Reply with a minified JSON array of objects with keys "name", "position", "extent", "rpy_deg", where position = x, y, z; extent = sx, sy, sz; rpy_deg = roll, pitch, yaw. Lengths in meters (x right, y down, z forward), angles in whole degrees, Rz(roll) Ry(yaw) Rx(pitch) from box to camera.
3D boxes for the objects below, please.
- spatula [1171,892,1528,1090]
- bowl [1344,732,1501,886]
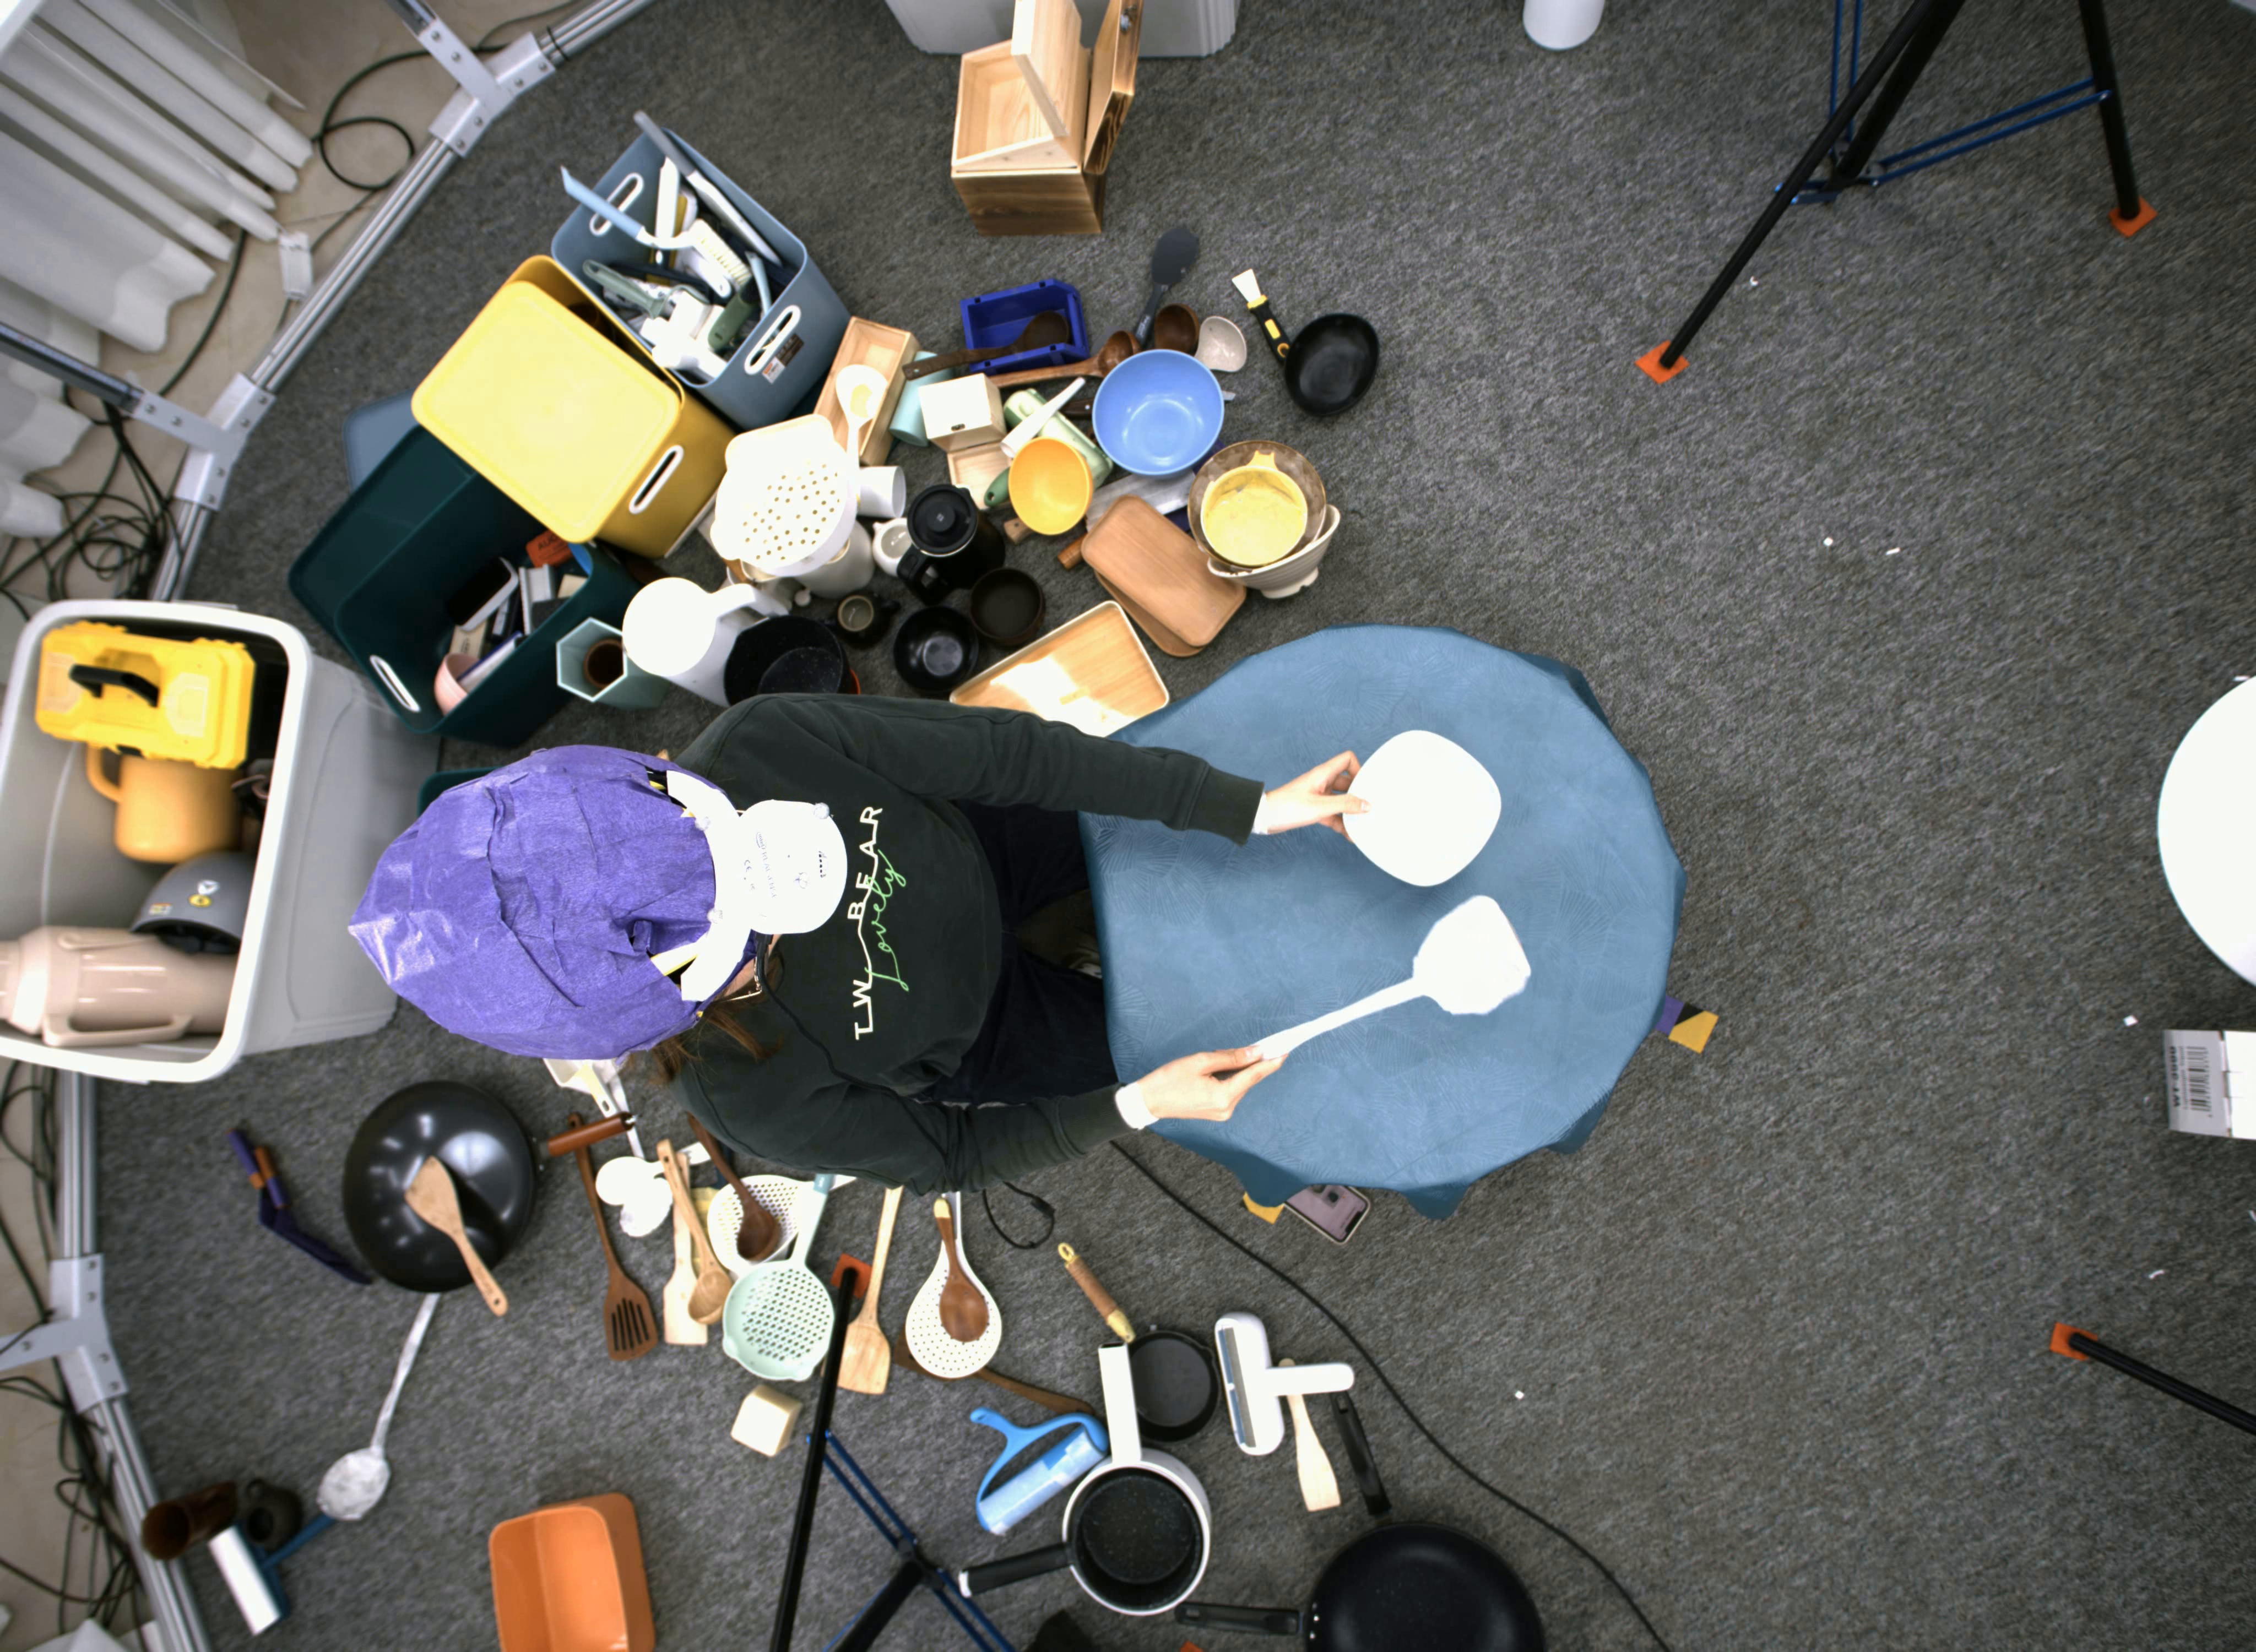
[{"name":"spatula","position":[0.201,0.175,1.314],"extent":[0.368,0.045,0.097],"rpy_deg":[-26,68,11]},{"name":"bowl","position":[0.288,-0.020,1.360],"extent":[0.152,0.058,0.152],"rpy_deg":[1,98,7]}]
